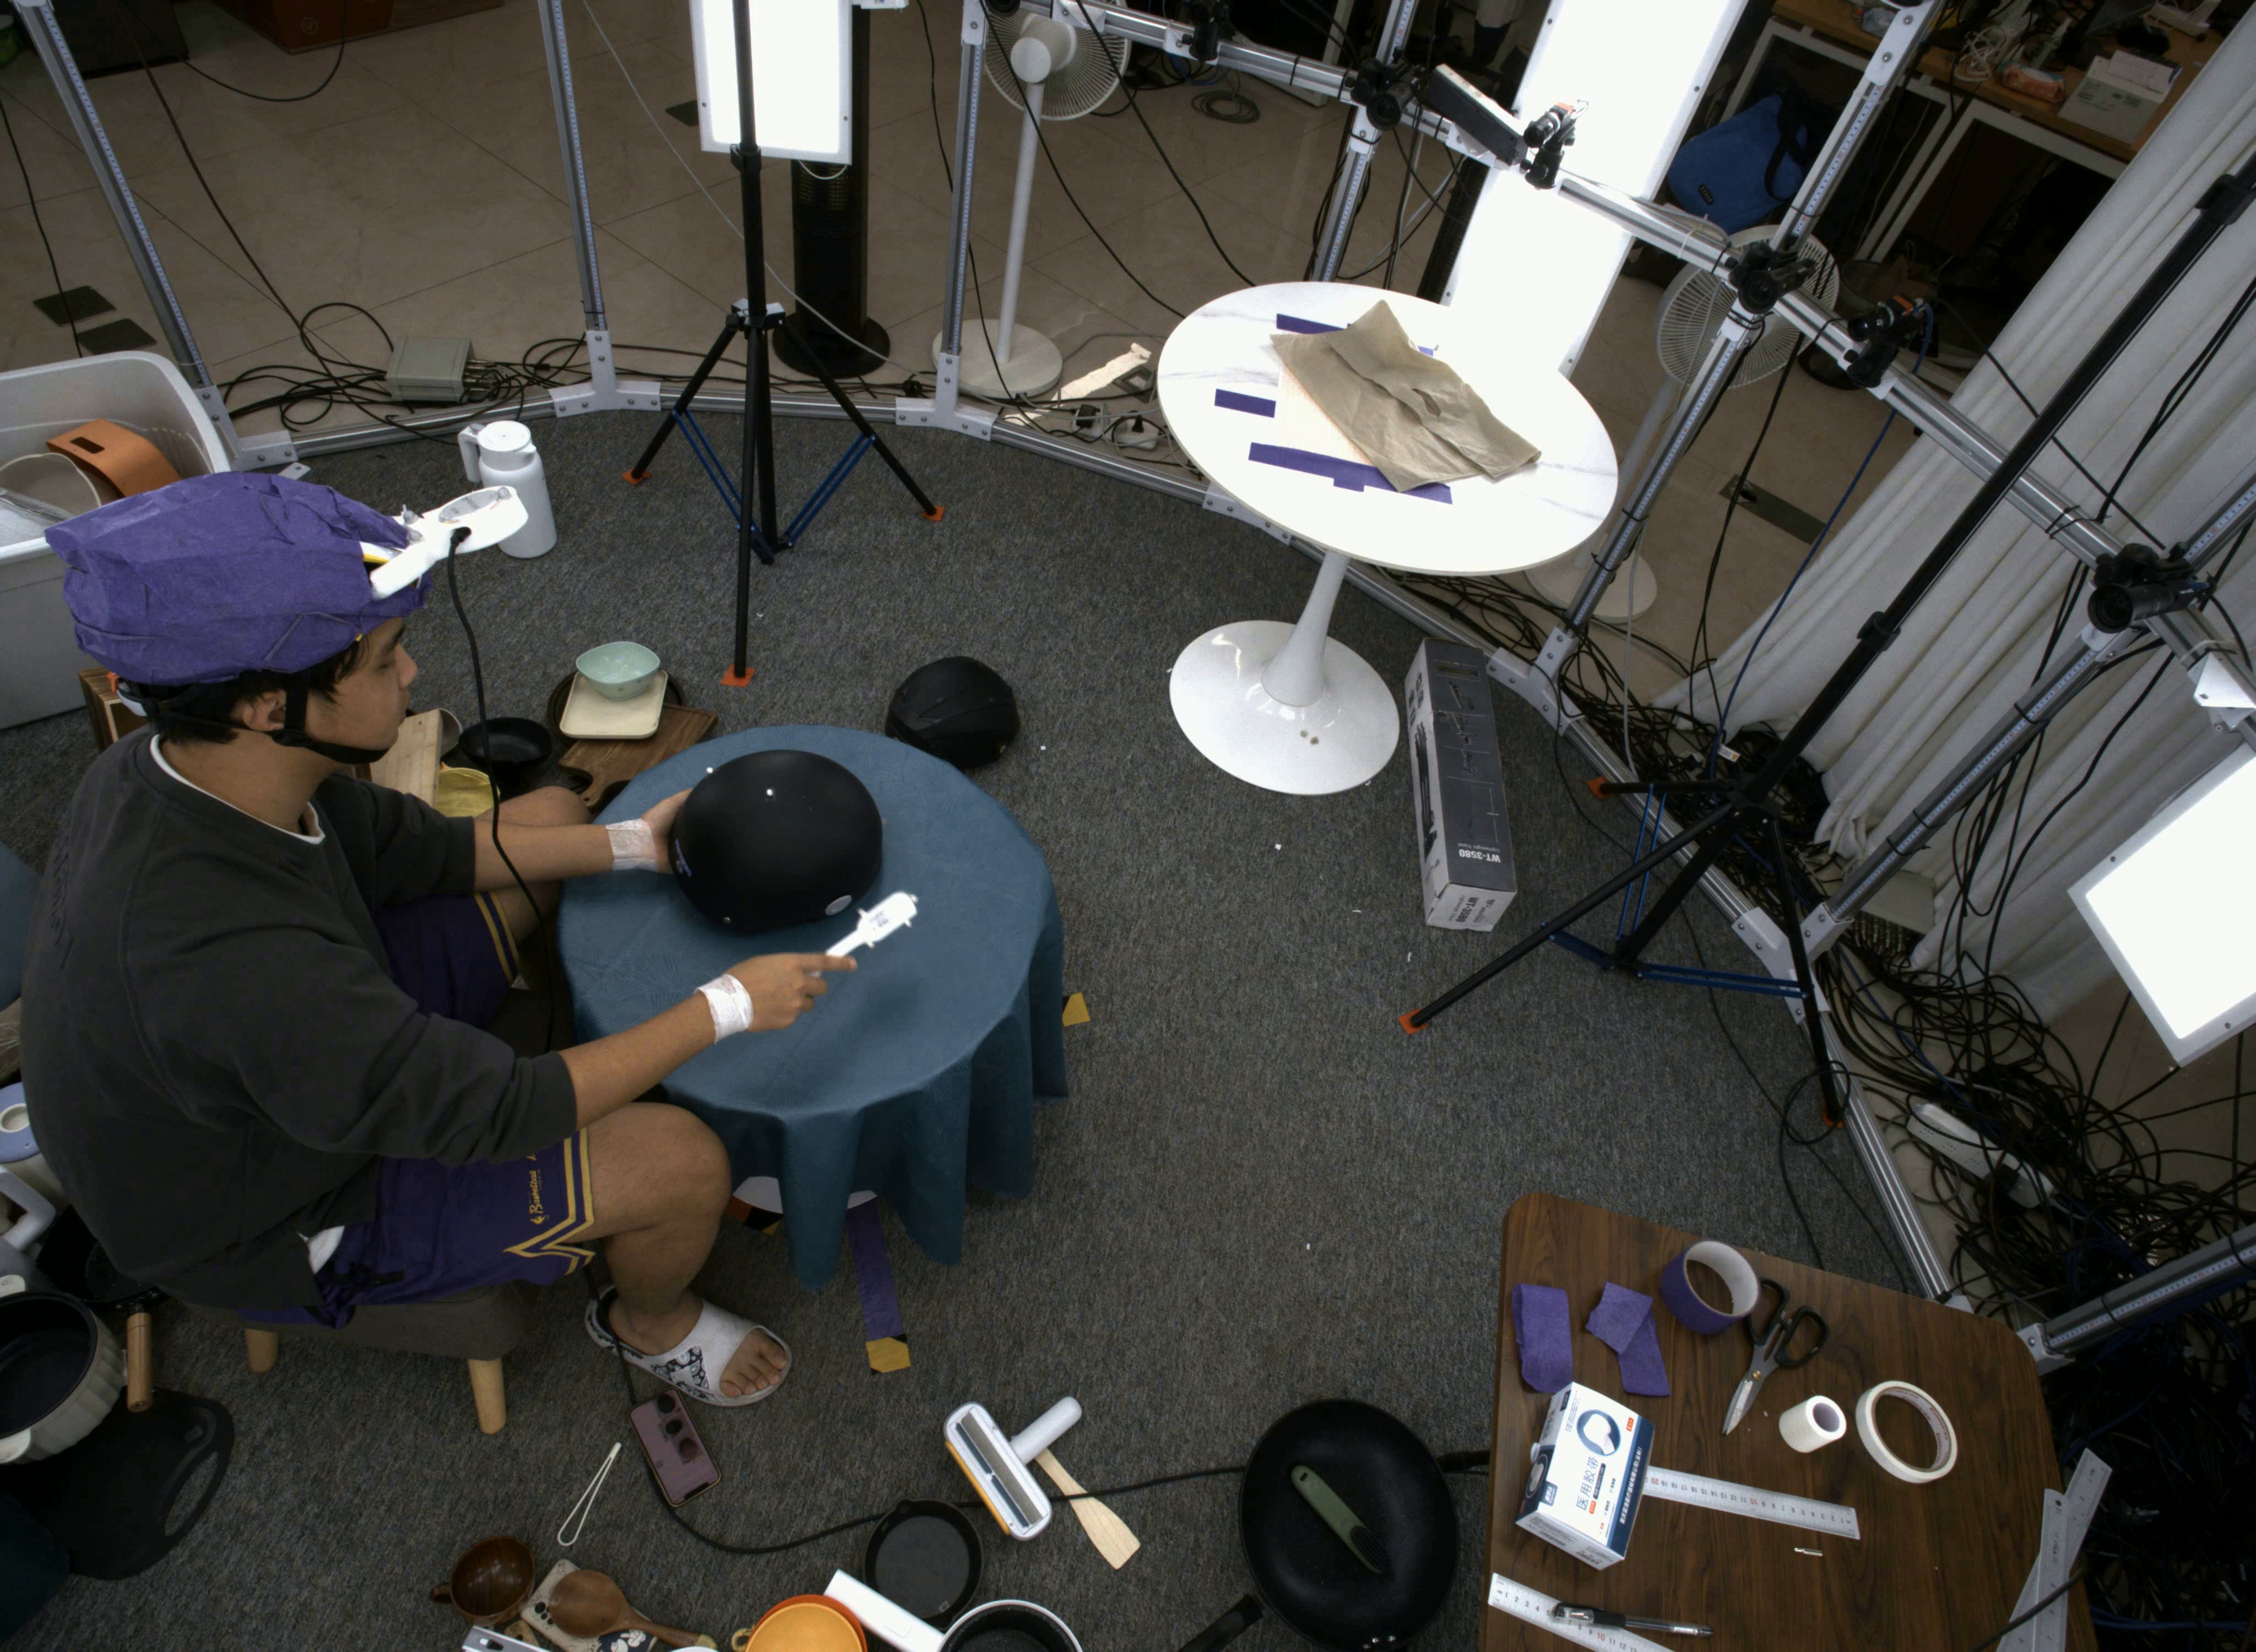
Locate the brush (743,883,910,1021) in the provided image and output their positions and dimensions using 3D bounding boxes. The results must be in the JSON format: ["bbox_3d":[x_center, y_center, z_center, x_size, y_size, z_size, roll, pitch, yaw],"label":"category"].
[{"bbox_3d":[-0.347,0.144,1.499,0.244,0.050,0.035,-40,93,-29],"label":"brush"}]

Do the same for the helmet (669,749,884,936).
[{"bbox_3d":[-0.433,0.001,1.616,0.275,0.168,0.226,-14,67,-27],"label":"helmet"}]
